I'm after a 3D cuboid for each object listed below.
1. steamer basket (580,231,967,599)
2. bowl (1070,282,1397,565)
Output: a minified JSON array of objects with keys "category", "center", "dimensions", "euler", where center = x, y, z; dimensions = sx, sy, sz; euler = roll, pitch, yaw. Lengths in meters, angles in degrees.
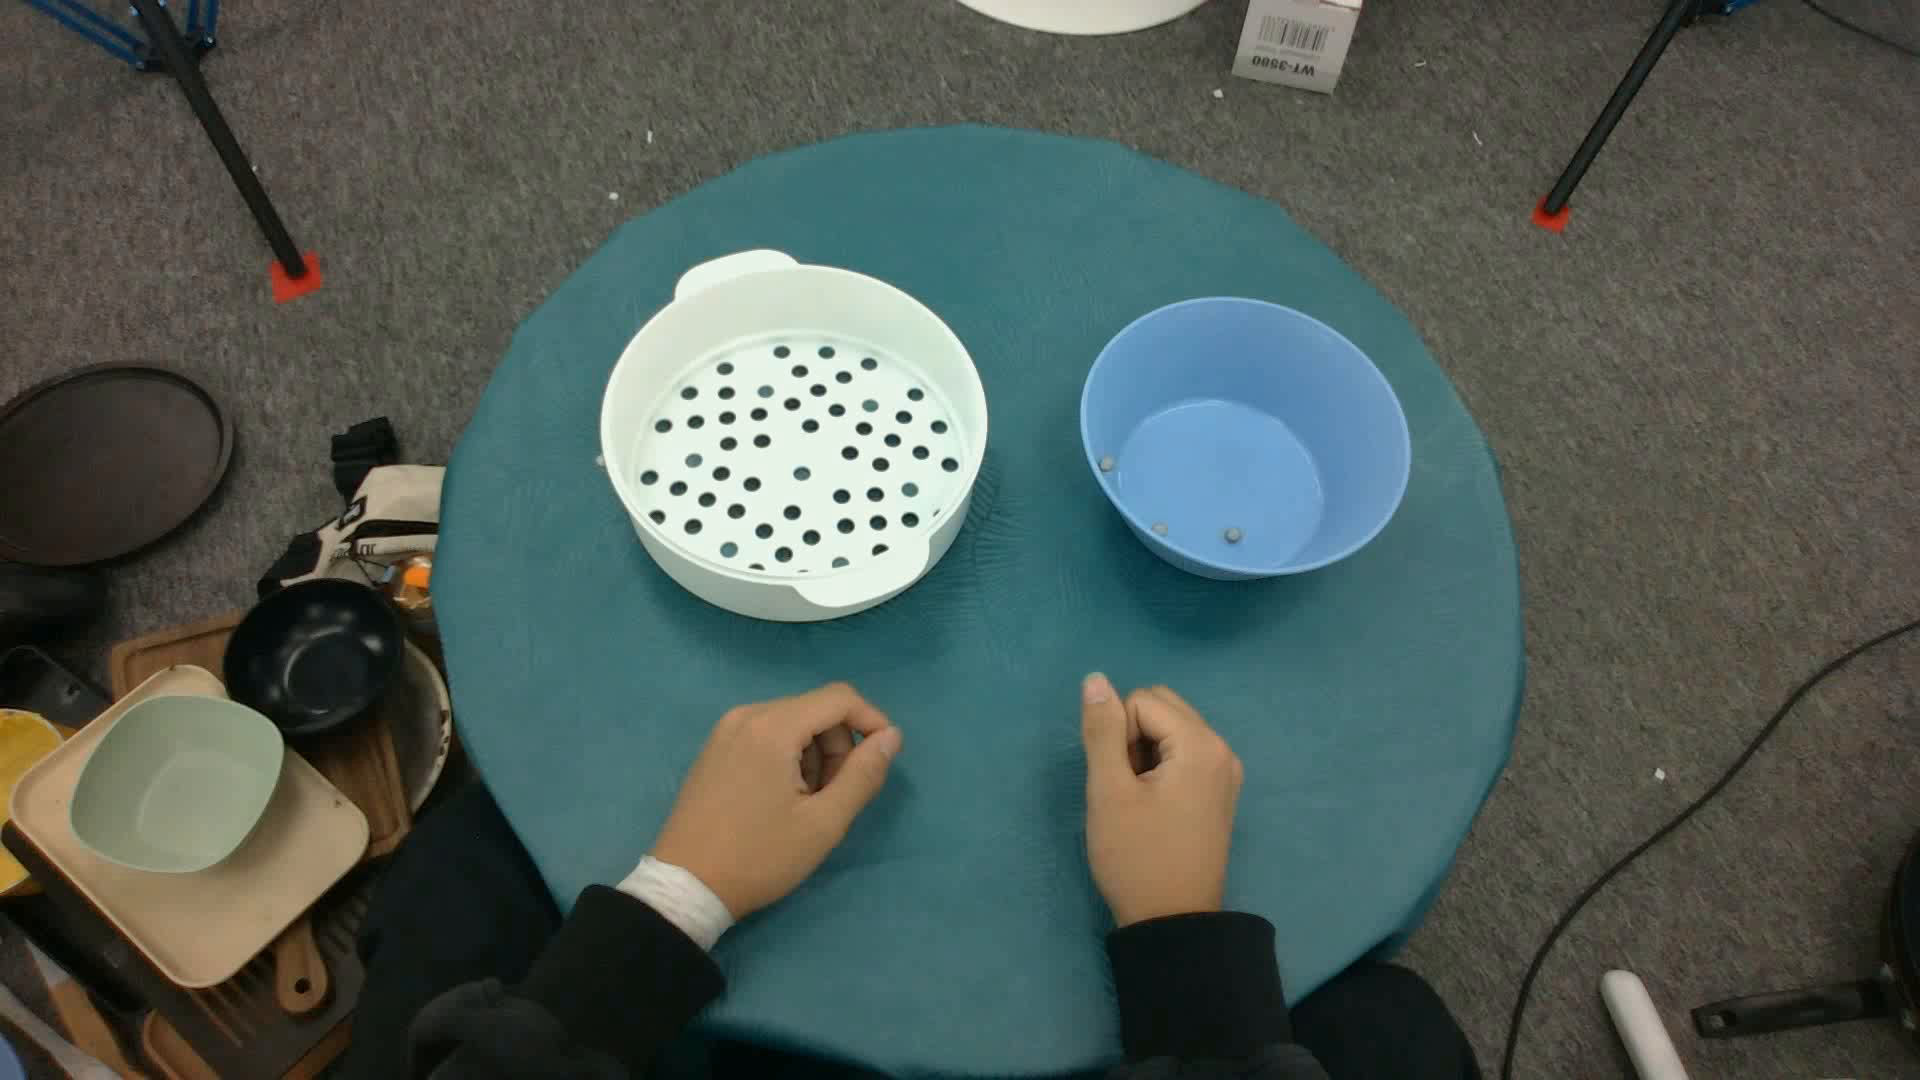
[{"category":"steamer basket","center":[-0.098,-0.064,0.746],"dimensions":[0.202,0.069,0.231],"euler":[-19,62,-15]},{"category":"bowl","center":[0.144,-0.053,0.760],"dimensions":[0.176,0.070,0.177],"euler":[2,61,-3]}]
